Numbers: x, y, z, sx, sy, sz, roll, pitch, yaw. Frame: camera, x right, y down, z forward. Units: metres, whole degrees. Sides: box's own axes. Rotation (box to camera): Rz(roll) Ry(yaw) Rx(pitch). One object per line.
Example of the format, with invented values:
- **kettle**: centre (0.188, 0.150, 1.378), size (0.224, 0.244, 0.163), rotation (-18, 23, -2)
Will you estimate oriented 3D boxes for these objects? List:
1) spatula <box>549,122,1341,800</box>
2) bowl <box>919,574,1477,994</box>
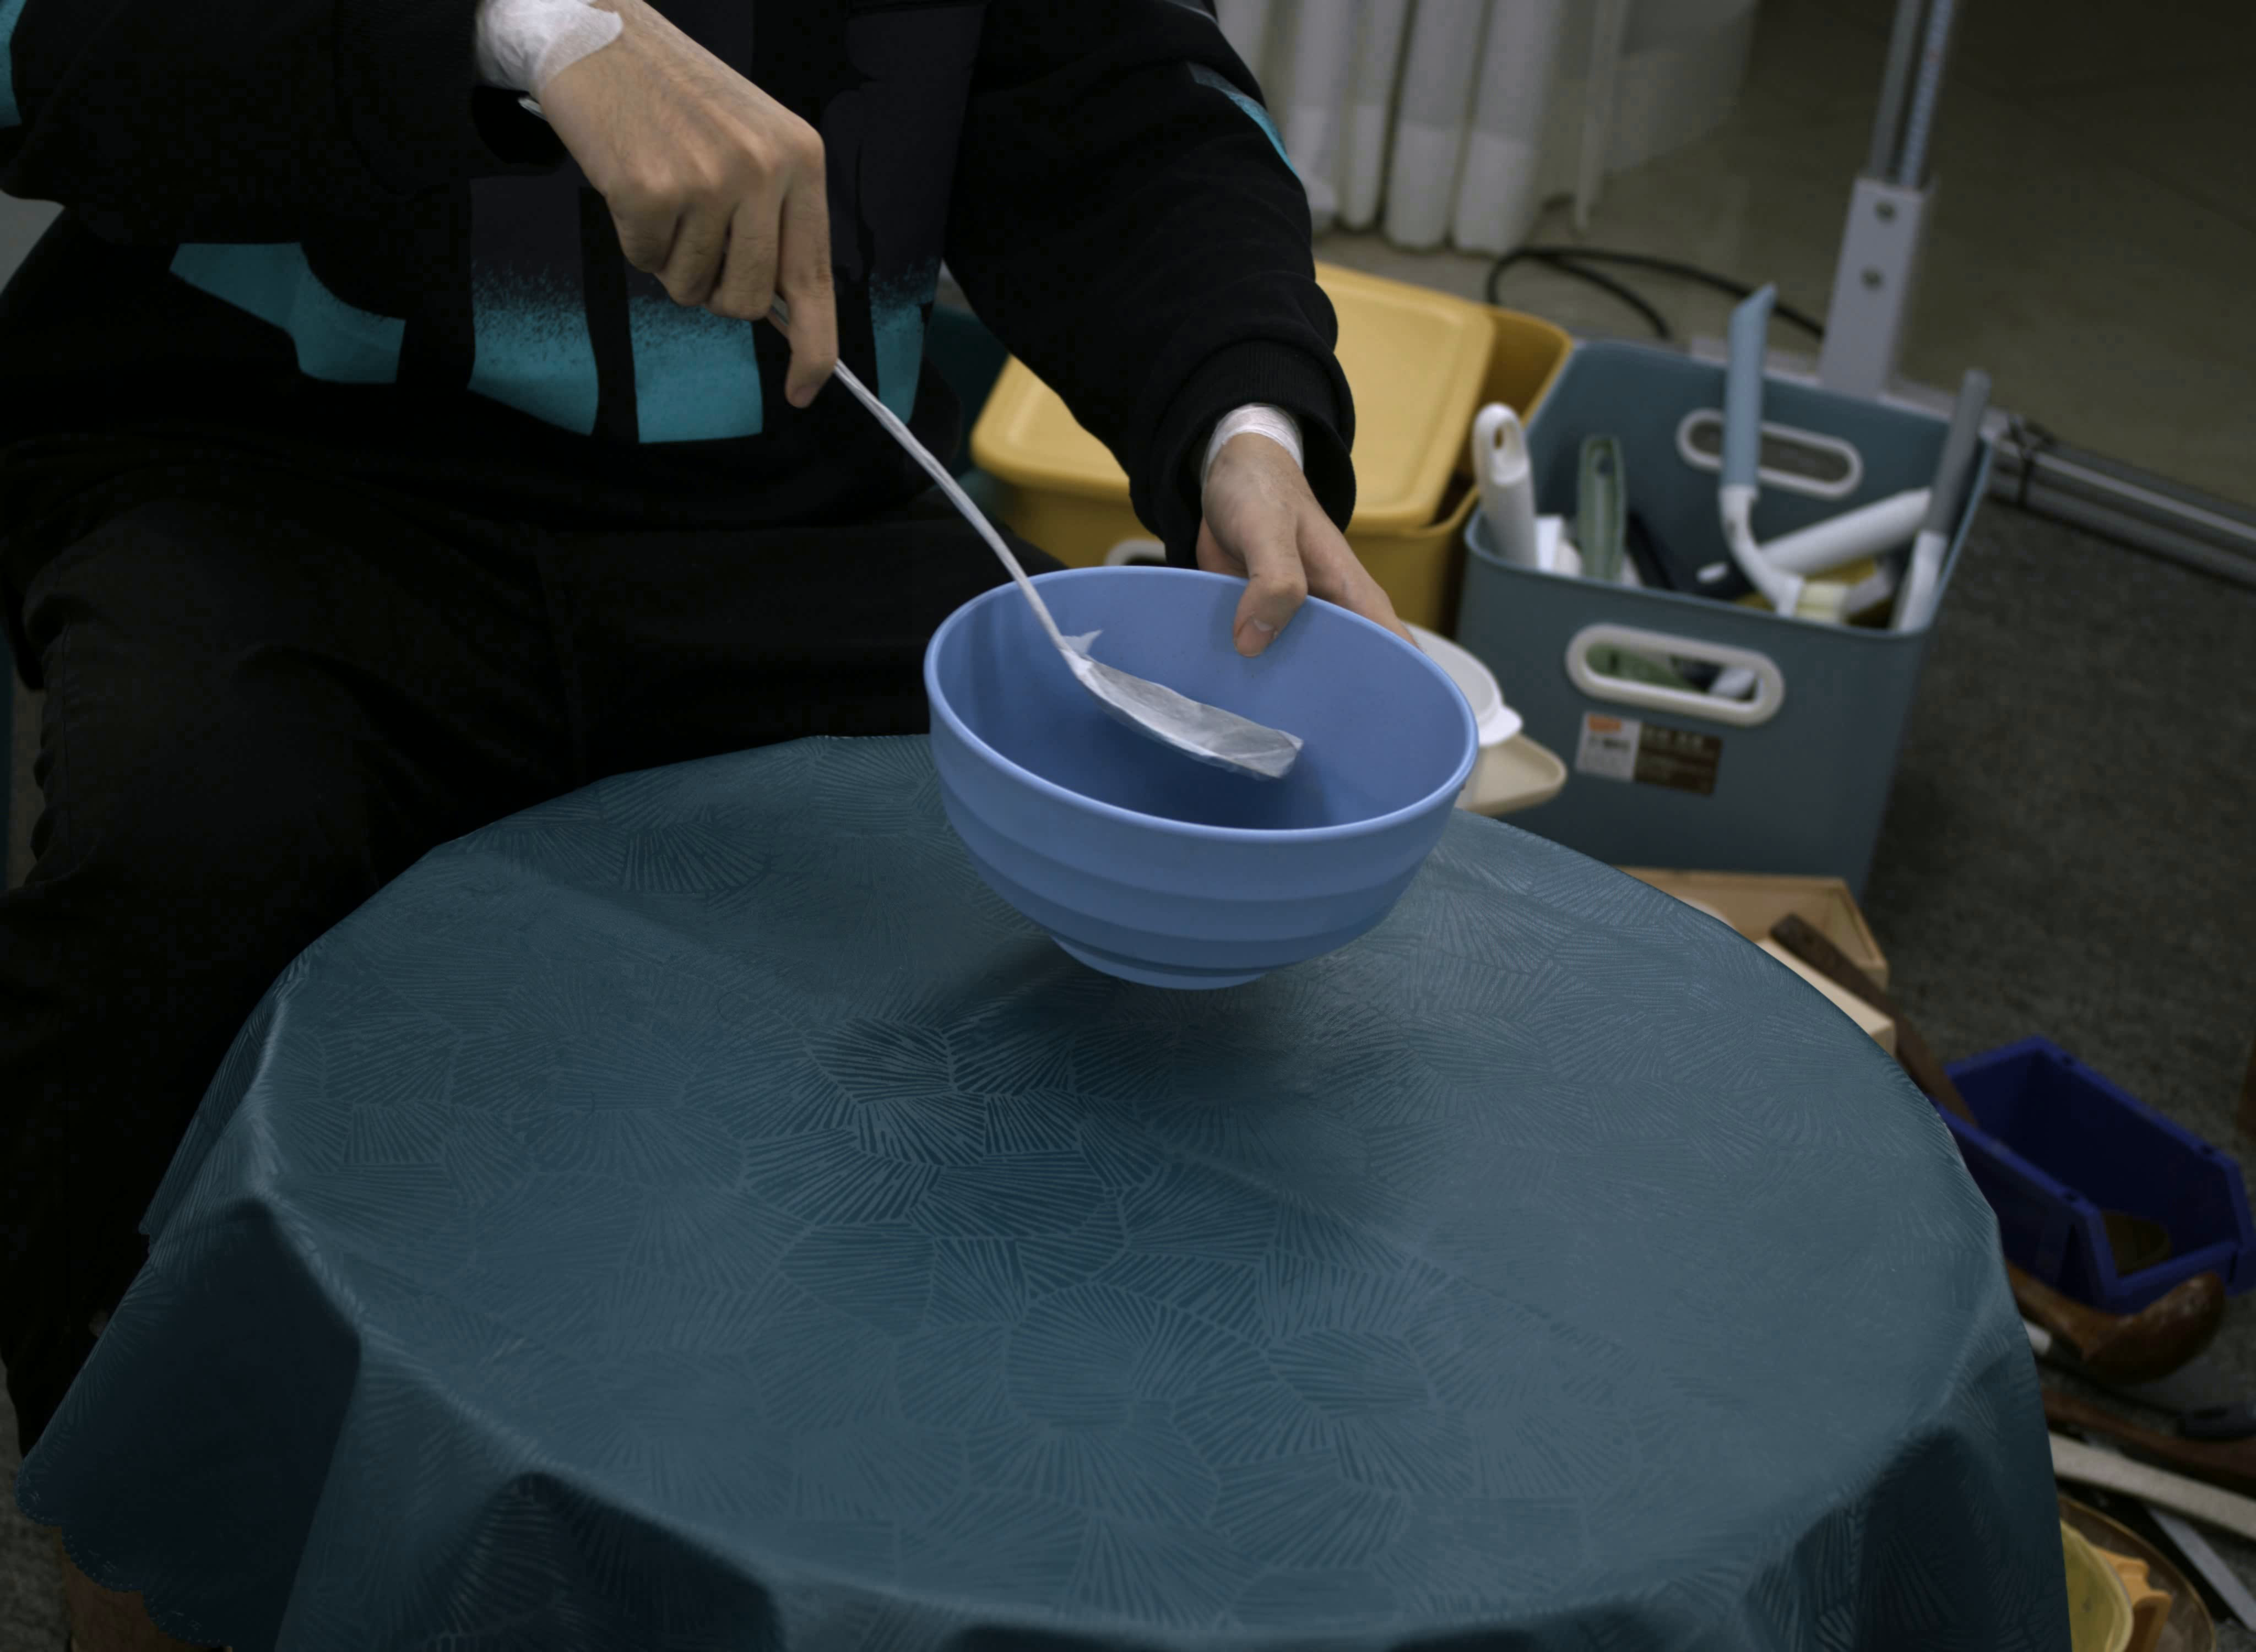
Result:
- **spatula**: centre (-0.065, -0.130, 1.885), size (0.364, 0.045, 0.099), rotation (46, 9, -6)
- **bowl**: centre (0.019, -0.005, 1.878), size (0.196, 0.095, 0.198), rotation (5, 28, -3)
